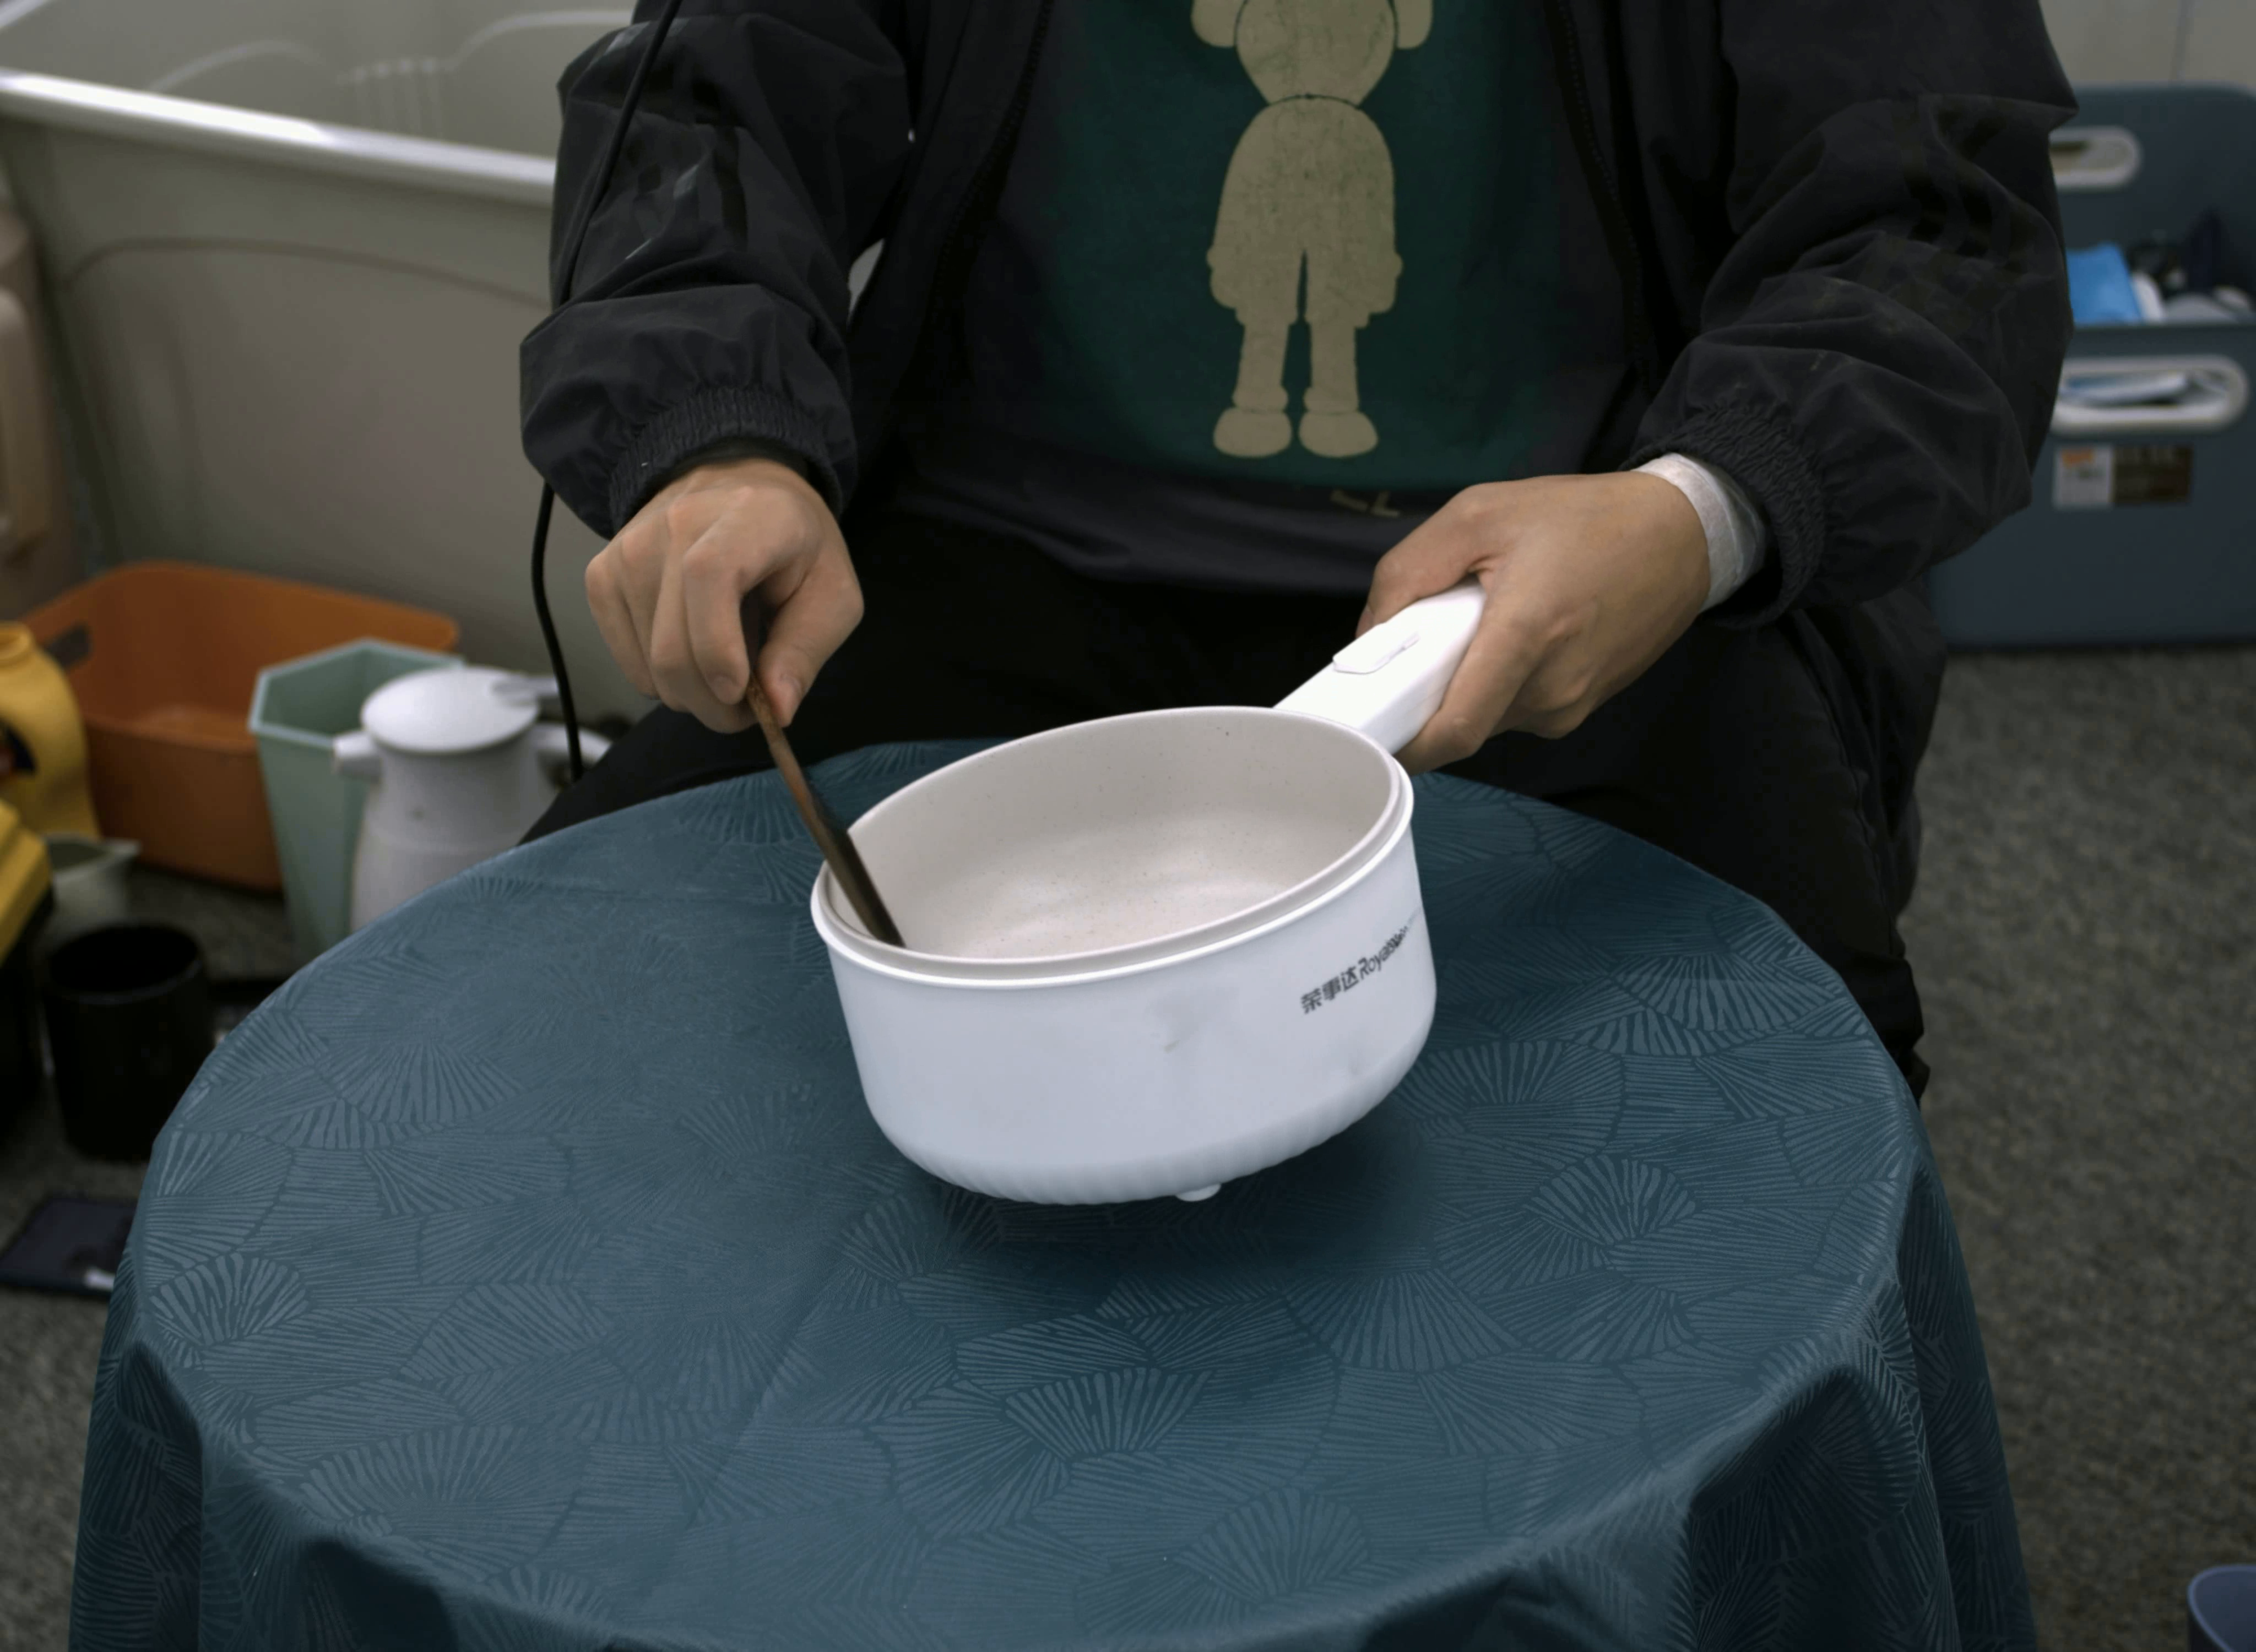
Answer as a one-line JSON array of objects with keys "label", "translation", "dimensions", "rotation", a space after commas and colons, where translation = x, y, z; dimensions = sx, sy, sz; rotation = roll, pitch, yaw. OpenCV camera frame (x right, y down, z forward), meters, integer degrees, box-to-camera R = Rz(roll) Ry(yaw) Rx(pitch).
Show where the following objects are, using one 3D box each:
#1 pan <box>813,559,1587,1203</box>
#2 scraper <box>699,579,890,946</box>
[{"label": "pan", "translation": [0.048, 0.016, 1.906], "dimensions": [0.199, 0.101, 0.360], "rotation": [5, 26, 37]}, {"label": "scraper", "translation": [-0.115, -0.027, 1.864], "dimensions": [0.011, 0.075, 0.213], "rotation": [-26, 32, -2]}]
